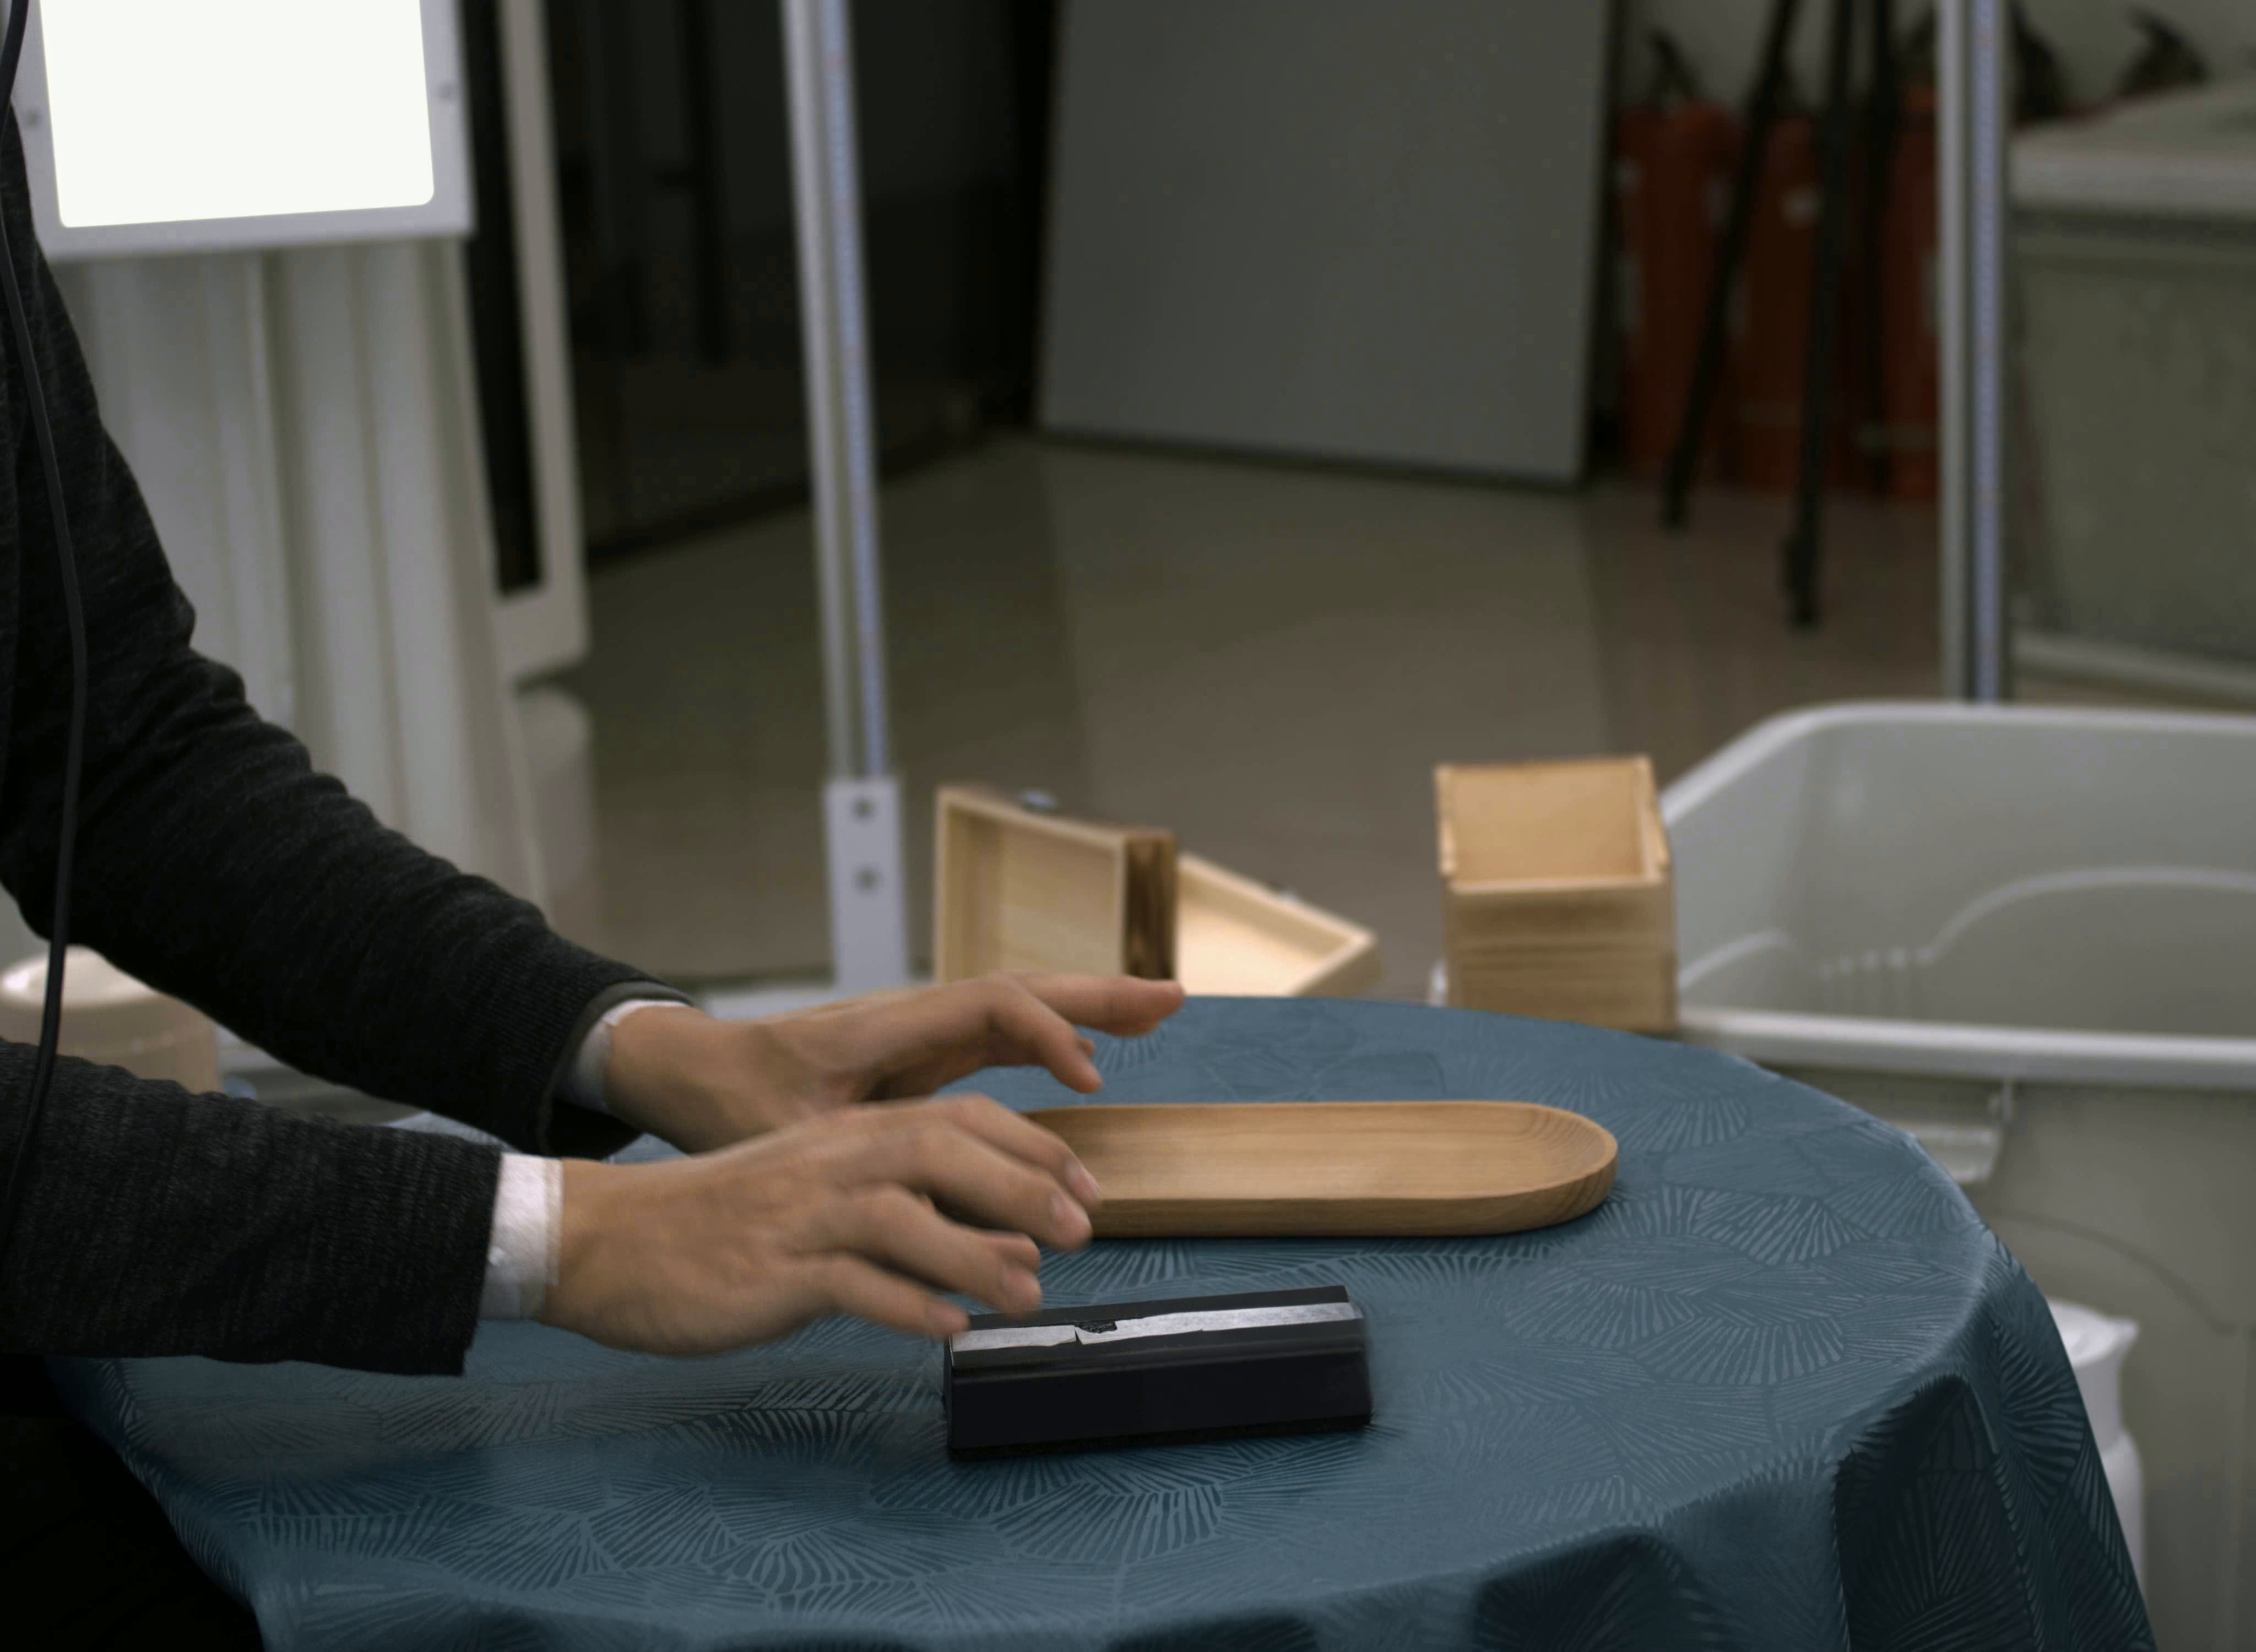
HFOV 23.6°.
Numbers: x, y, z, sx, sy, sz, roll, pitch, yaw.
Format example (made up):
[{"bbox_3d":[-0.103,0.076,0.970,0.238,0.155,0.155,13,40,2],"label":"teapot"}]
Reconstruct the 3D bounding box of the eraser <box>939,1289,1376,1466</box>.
[{"bbox_3d":[0.009,0.158,1.556,0.124,0.031,0.053,-6,11,-2],"label":"eraser"}]

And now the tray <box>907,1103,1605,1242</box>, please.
[{"bbox_3d":[0.041,0.113,1.755,0.229,0.020,0.101,-3,12,11],"label":"tray"}]
